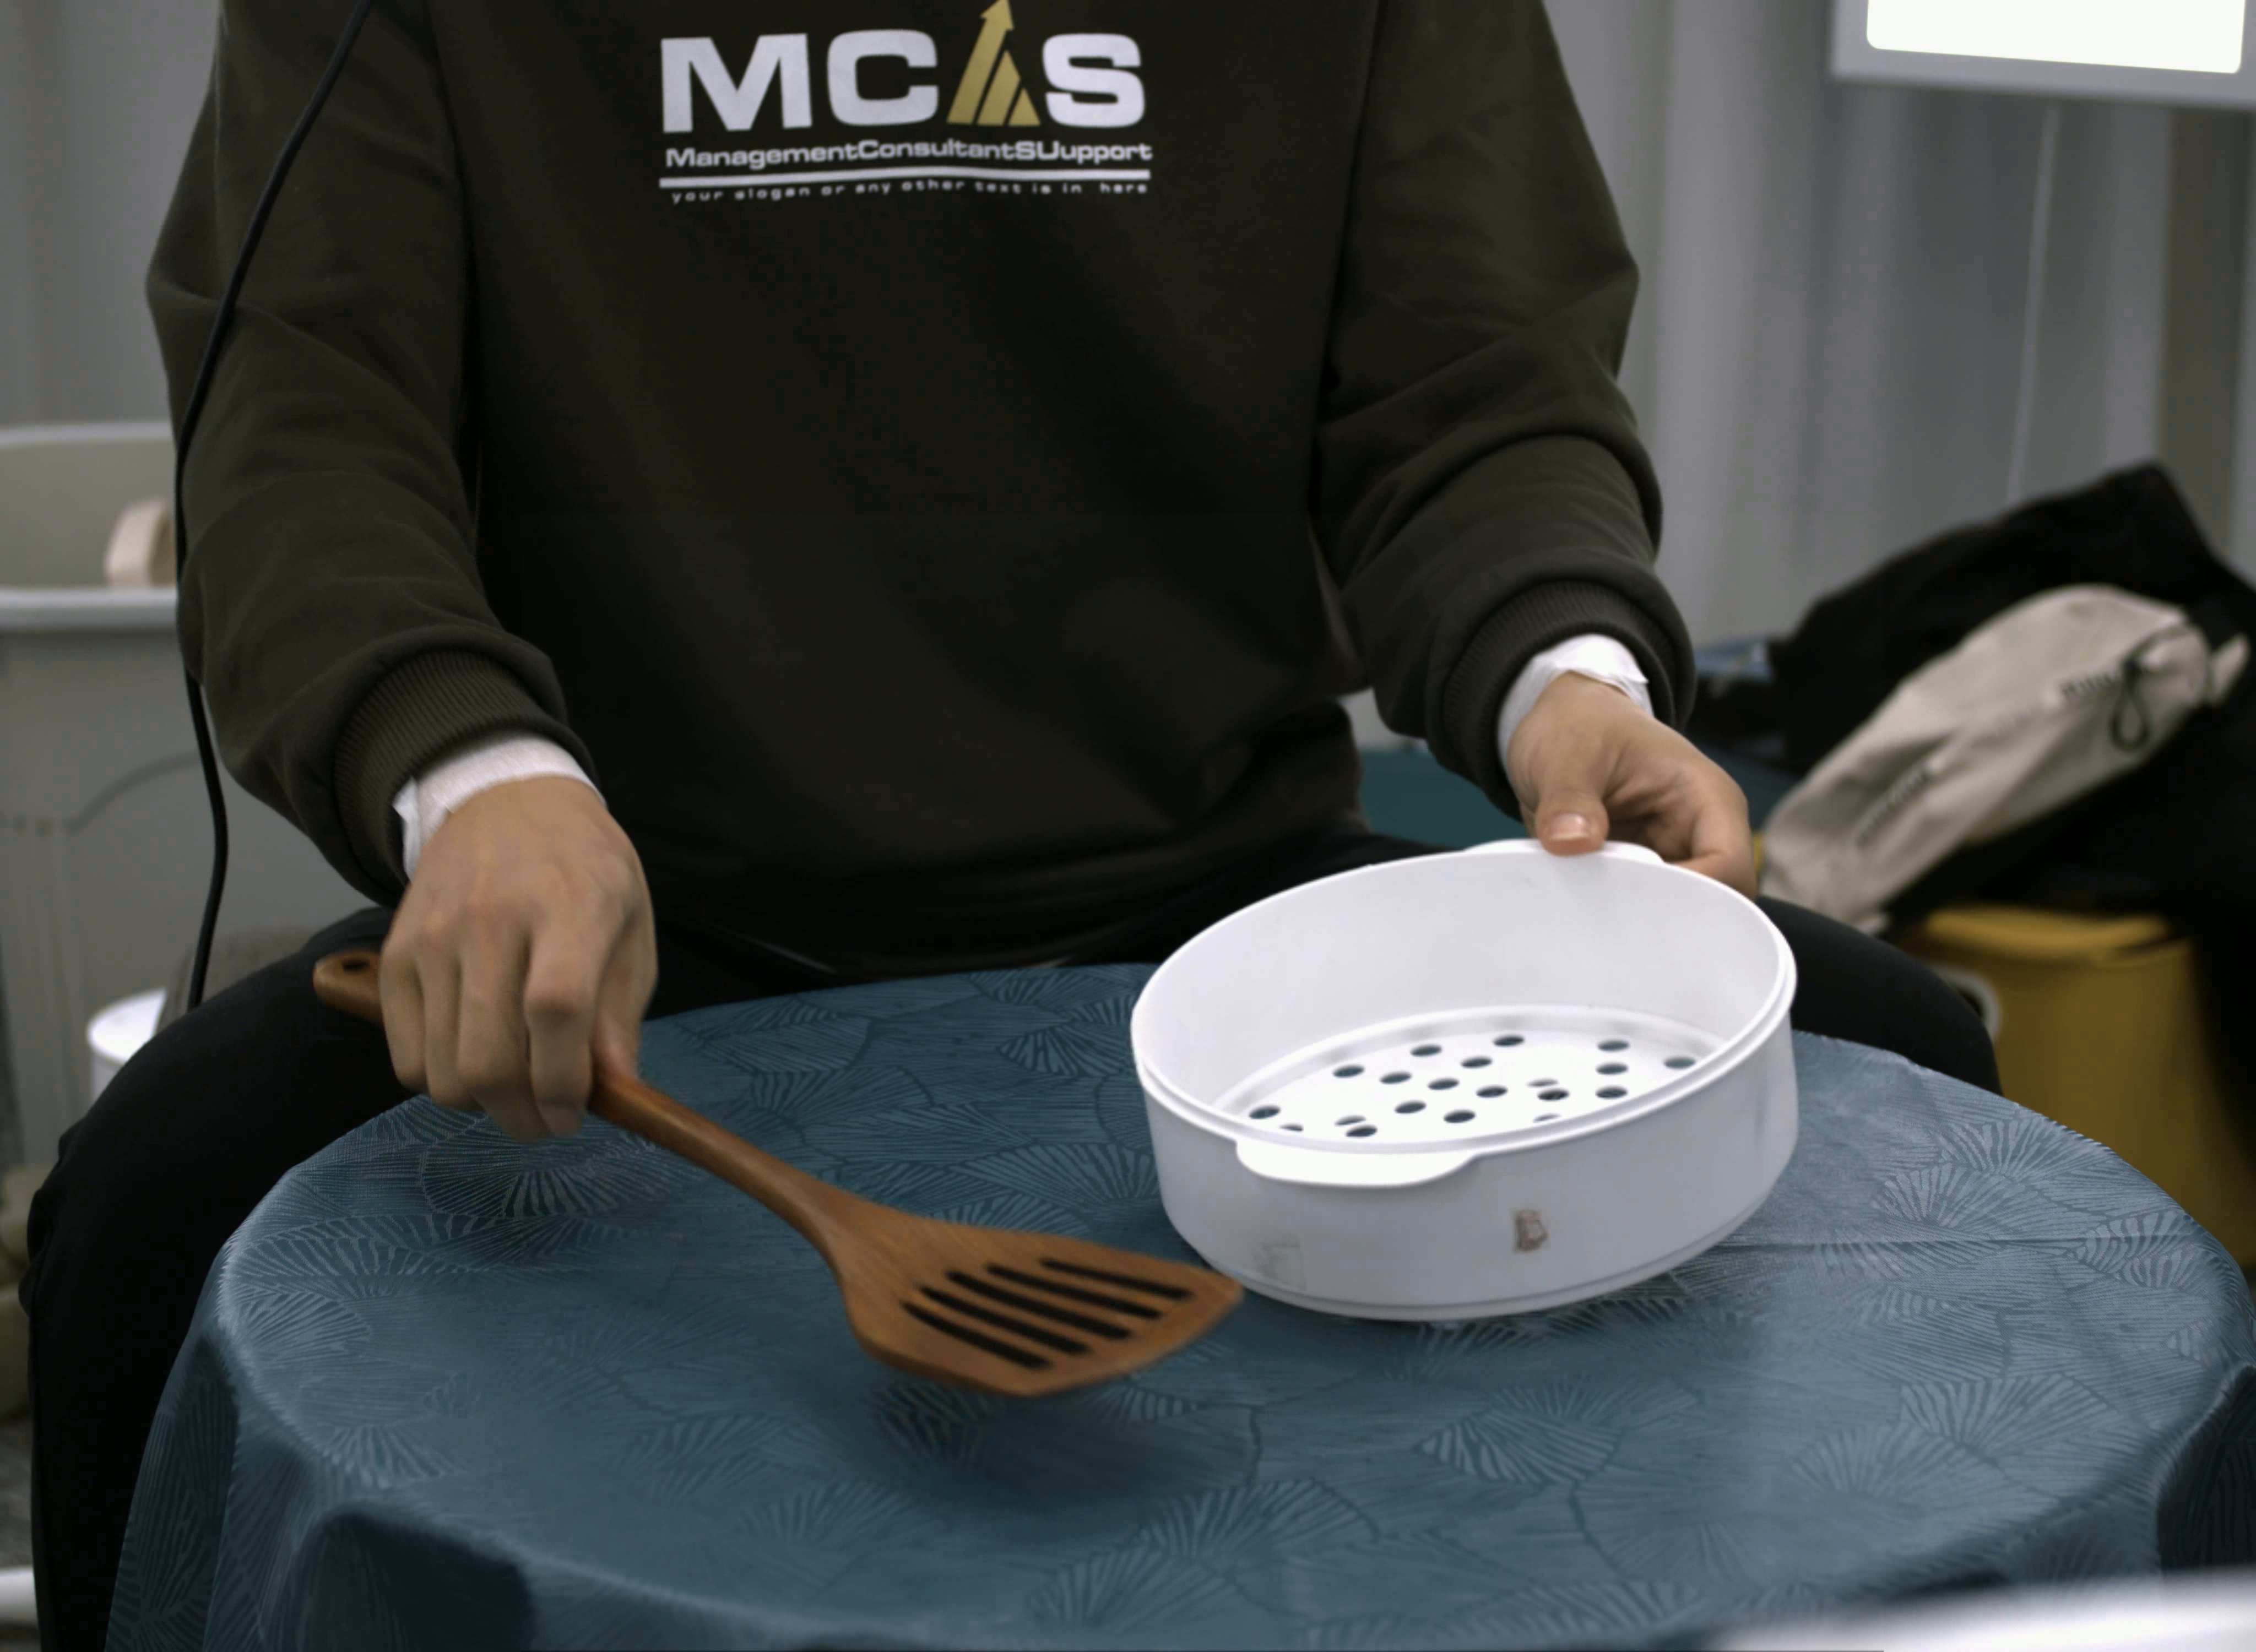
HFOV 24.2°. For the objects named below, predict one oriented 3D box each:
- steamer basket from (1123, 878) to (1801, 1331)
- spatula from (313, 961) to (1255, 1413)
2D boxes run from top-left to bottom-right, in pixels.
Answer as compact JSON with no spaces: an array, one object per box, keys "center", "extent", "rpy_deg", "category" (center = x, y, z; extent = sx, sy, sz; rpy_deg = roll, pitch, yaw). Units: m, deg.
[{"center":[0.101,0.083,1.576],"extent":[0.200,0.070,0.230],"rpy_deg":[4,22,22],"category":"steamer basket"},{"center":[-0.120,0.099,1.515],"extent":[0.086,0.024,0.380],"rpy_deg":[-23,31,-39],"category":"spatula"}]
